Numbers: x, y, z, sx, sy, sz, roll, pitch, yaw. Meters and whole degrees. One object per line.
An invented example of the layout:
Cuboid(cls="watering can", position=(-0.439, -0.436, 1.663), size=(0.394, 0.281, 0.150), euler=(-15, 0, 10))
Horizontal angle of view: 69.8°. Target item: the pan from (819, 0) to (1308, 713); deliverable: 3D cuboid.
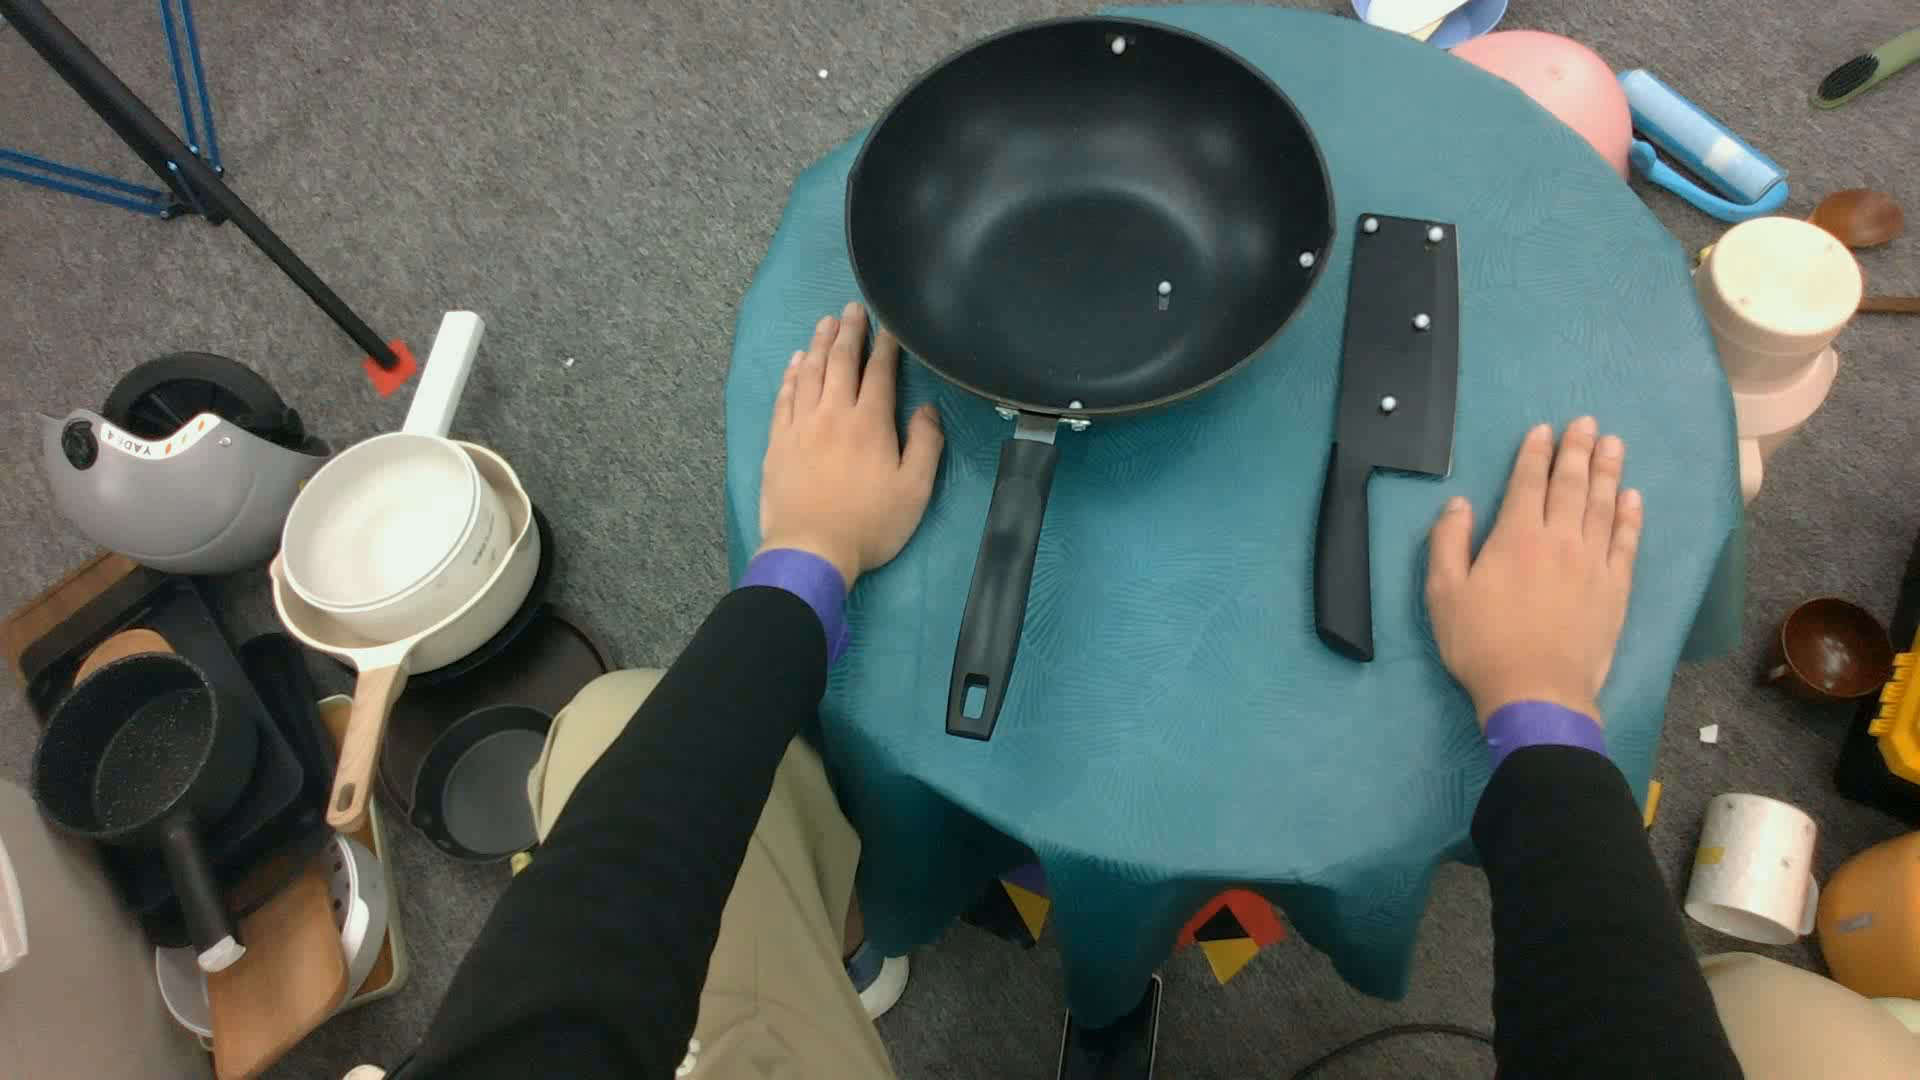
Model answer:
Cuboid(cls="pan", position=(0.041, -0.112, 0.802), size=(0.288, 0.086, 0.465), euler=(10, 68, 8))

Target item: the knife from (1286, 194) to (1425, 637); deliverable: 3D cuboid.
Cuboid(cls="knife", position=(0.234, -0.084, 0.814), size=(0.081, 0.021, 0.303), euler=(12, 66, 8))
